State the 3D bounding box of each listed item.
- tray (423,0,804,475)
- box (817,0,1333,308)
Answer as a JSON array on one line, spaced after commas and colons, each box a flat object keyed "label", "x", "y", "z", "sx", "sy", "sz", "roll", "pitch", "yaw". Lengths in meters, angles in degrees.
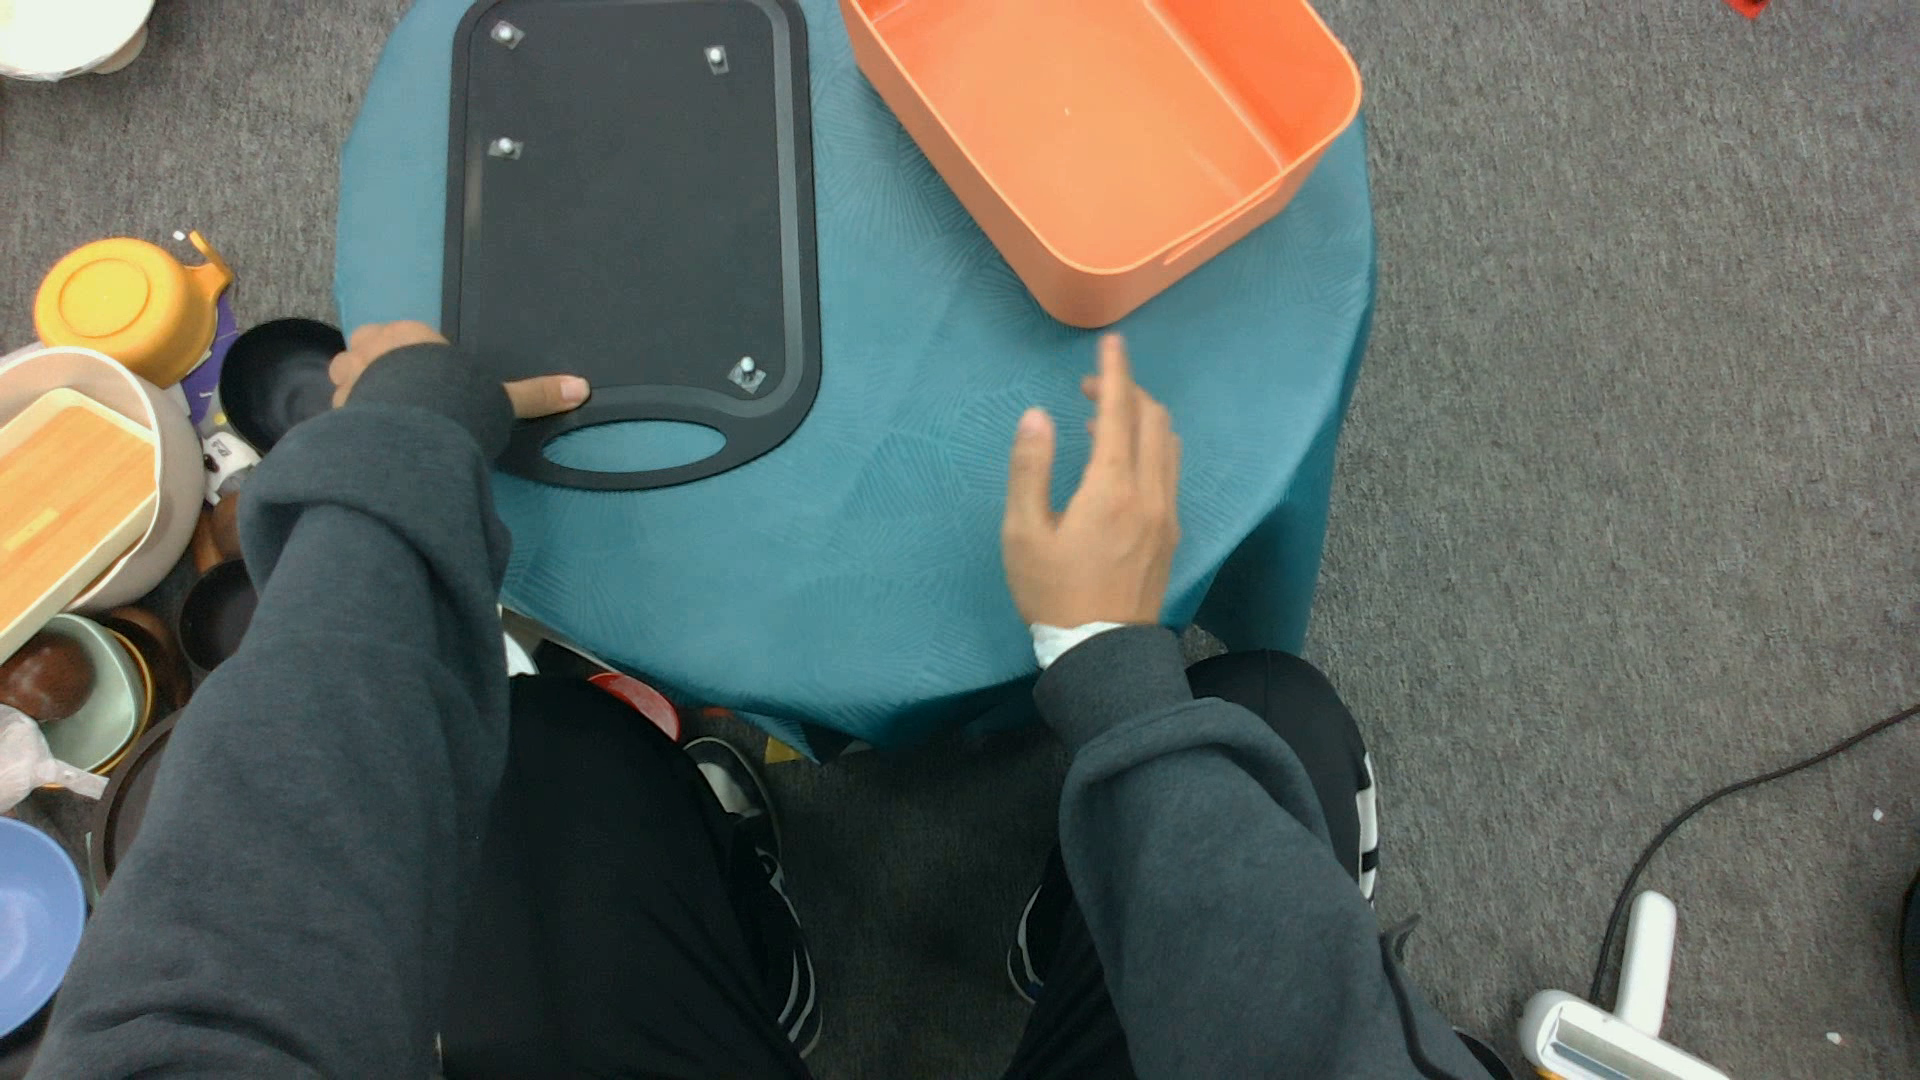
[{"label": "tray", "x": -0.199, "y": -0.194, "z": 0.790, "sx": 0.211, "sy": 0.010, "sz": 0.326, "roll": -4, "pitch": 75, "yaw": -3}, {"label": "box", "x": 0.051, "y": -0.272, "z": 0.765, "sx": 0.200, "sy": 0.102, "sz": 0.273, "roll": -35, "pitch": 78, "yaw": -9}]
